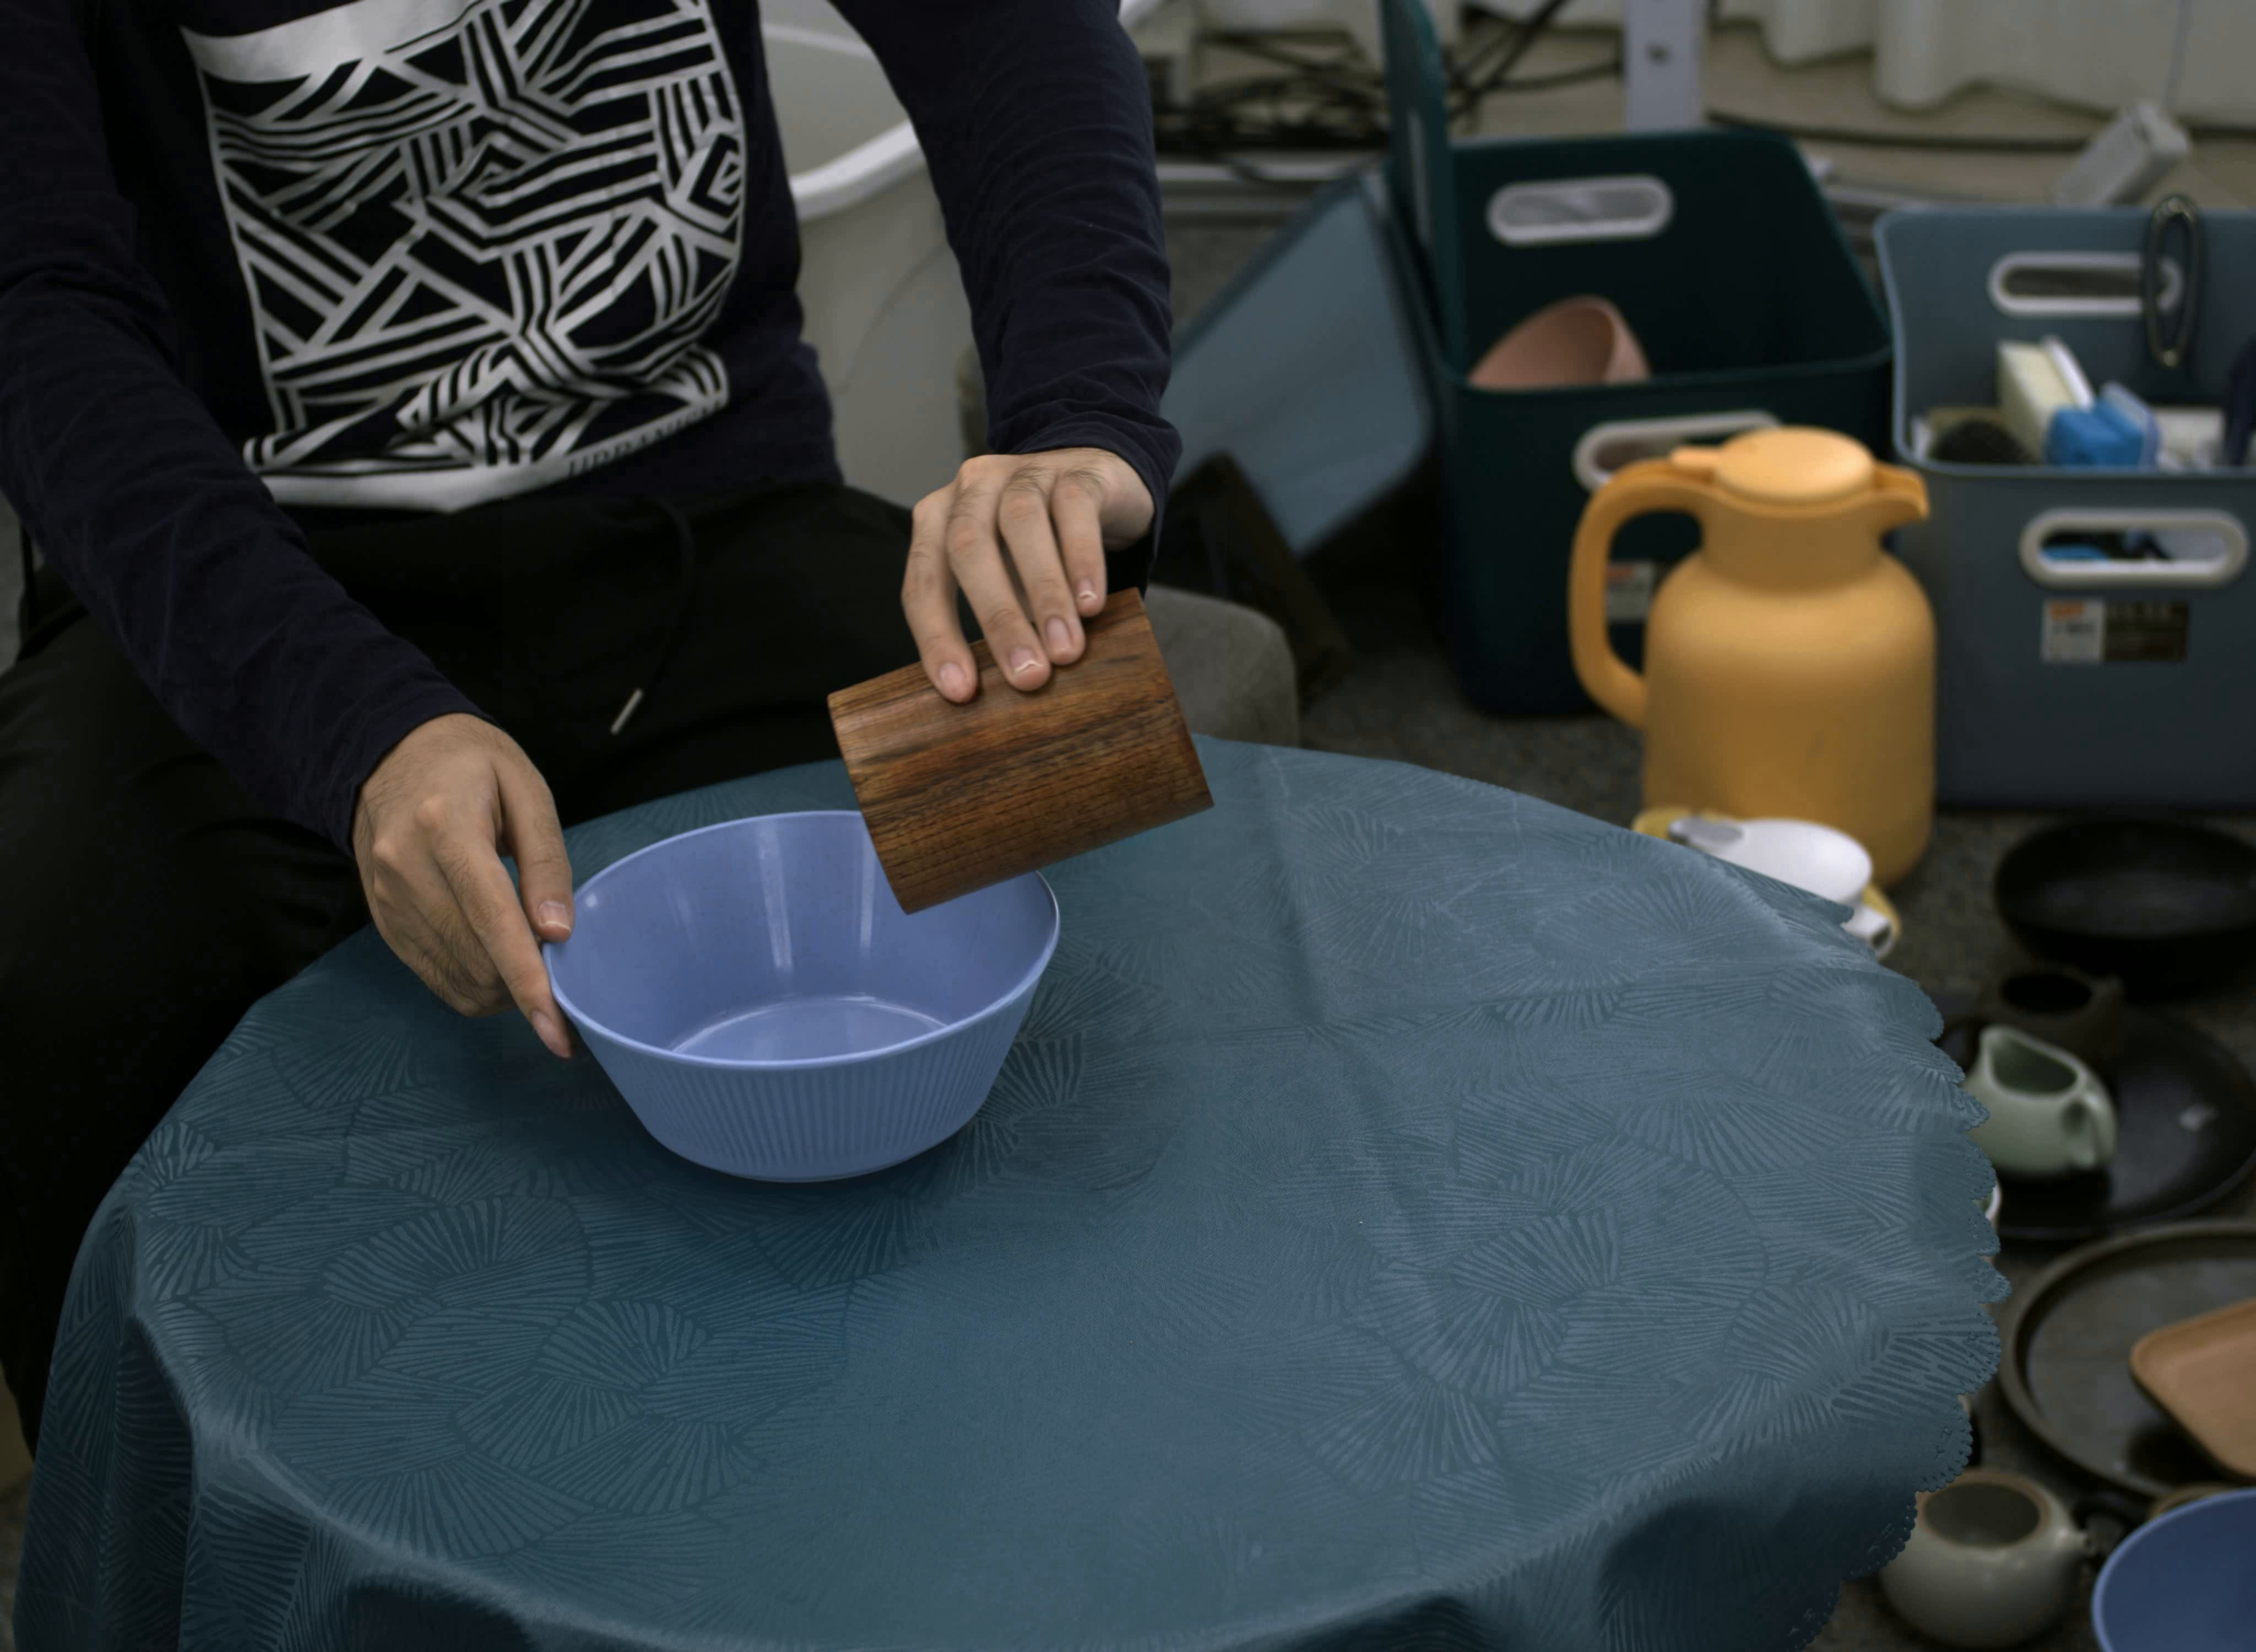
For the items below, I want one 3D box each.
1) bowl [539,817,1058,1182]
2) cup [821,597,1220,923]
[{"bbox_3d":[-0.109,0.065,1.905,0.175,0.069,0.179,-2,26,1],"label":"bowl"},{"bbox_3d":[-0.036,-0.021,1.883,0.118,0.087,0.089,-16,27,2],"label":"cup"}]
